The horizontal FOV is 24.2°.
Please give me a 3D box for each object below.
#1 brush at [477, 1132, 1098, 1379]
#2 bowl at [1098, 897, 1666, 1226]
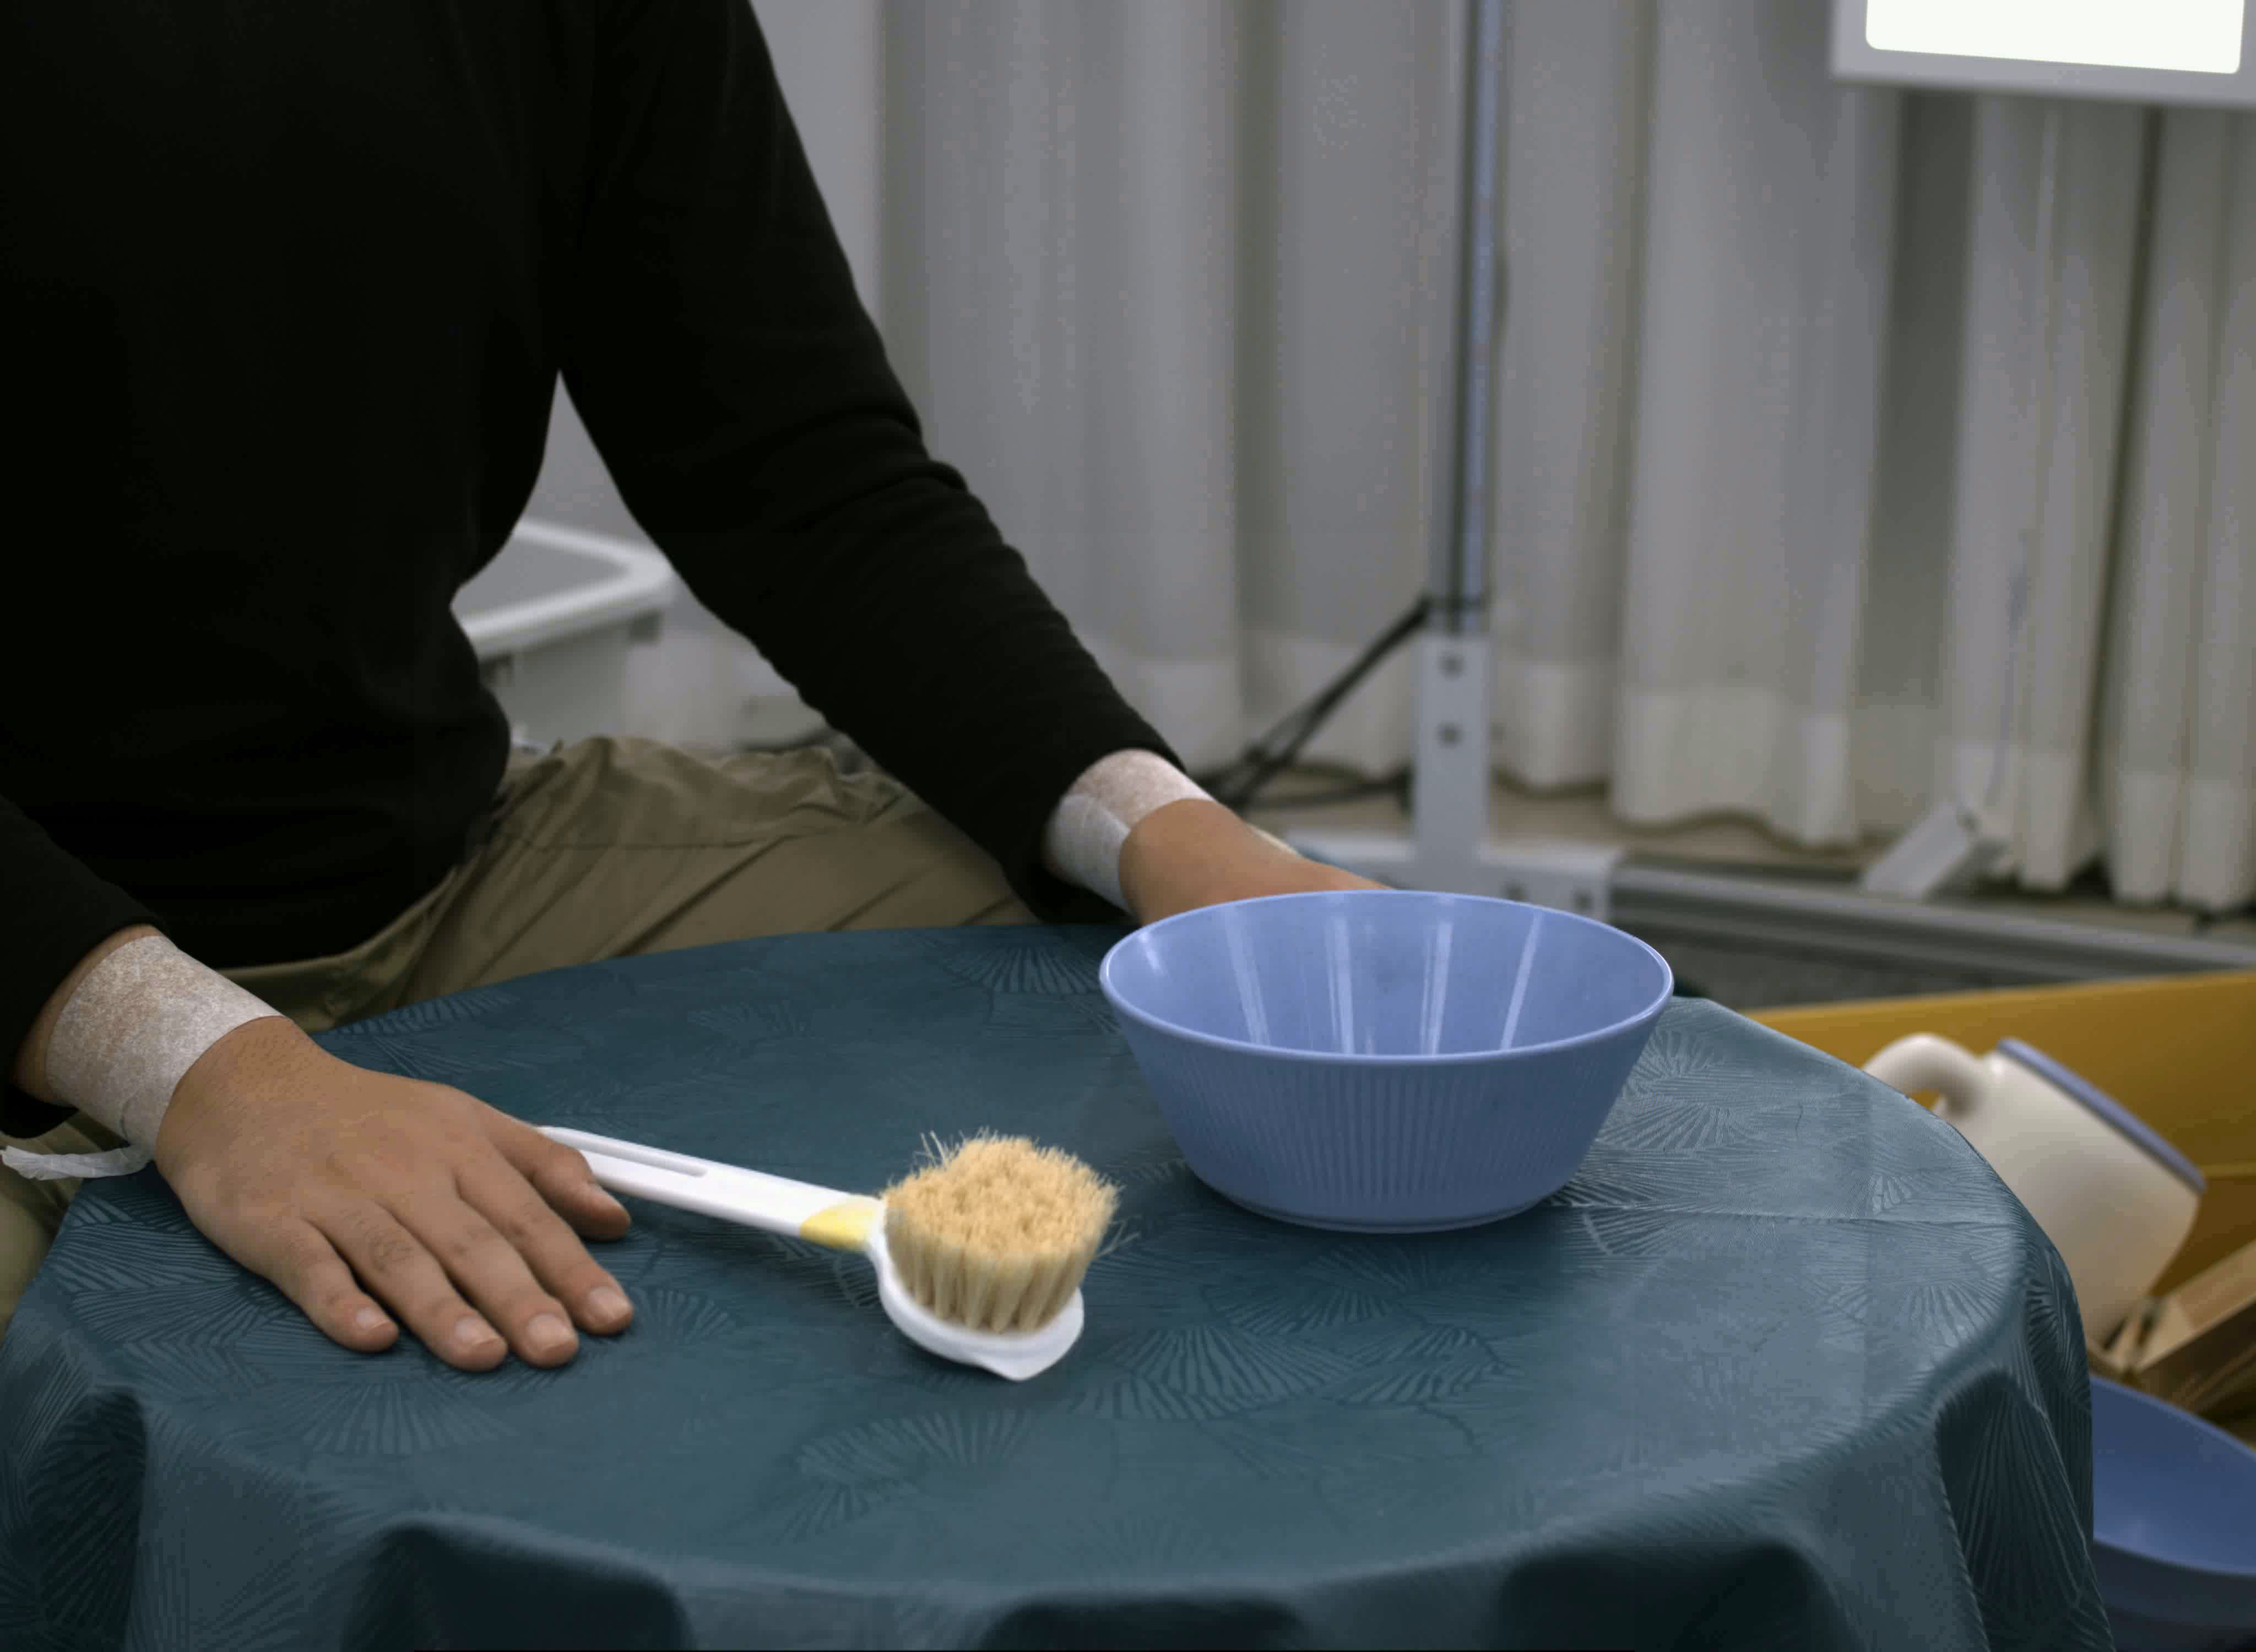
[{"bbox_3d":[-0.110,0.103,1.551,0.069,0.056,0.263,-8,16,-42],"label":"brush"},{"bbox_3d":[0.078,0.075,1.624,0.175,0.071,0.175,0,14,0],"label":"bowl"}]
